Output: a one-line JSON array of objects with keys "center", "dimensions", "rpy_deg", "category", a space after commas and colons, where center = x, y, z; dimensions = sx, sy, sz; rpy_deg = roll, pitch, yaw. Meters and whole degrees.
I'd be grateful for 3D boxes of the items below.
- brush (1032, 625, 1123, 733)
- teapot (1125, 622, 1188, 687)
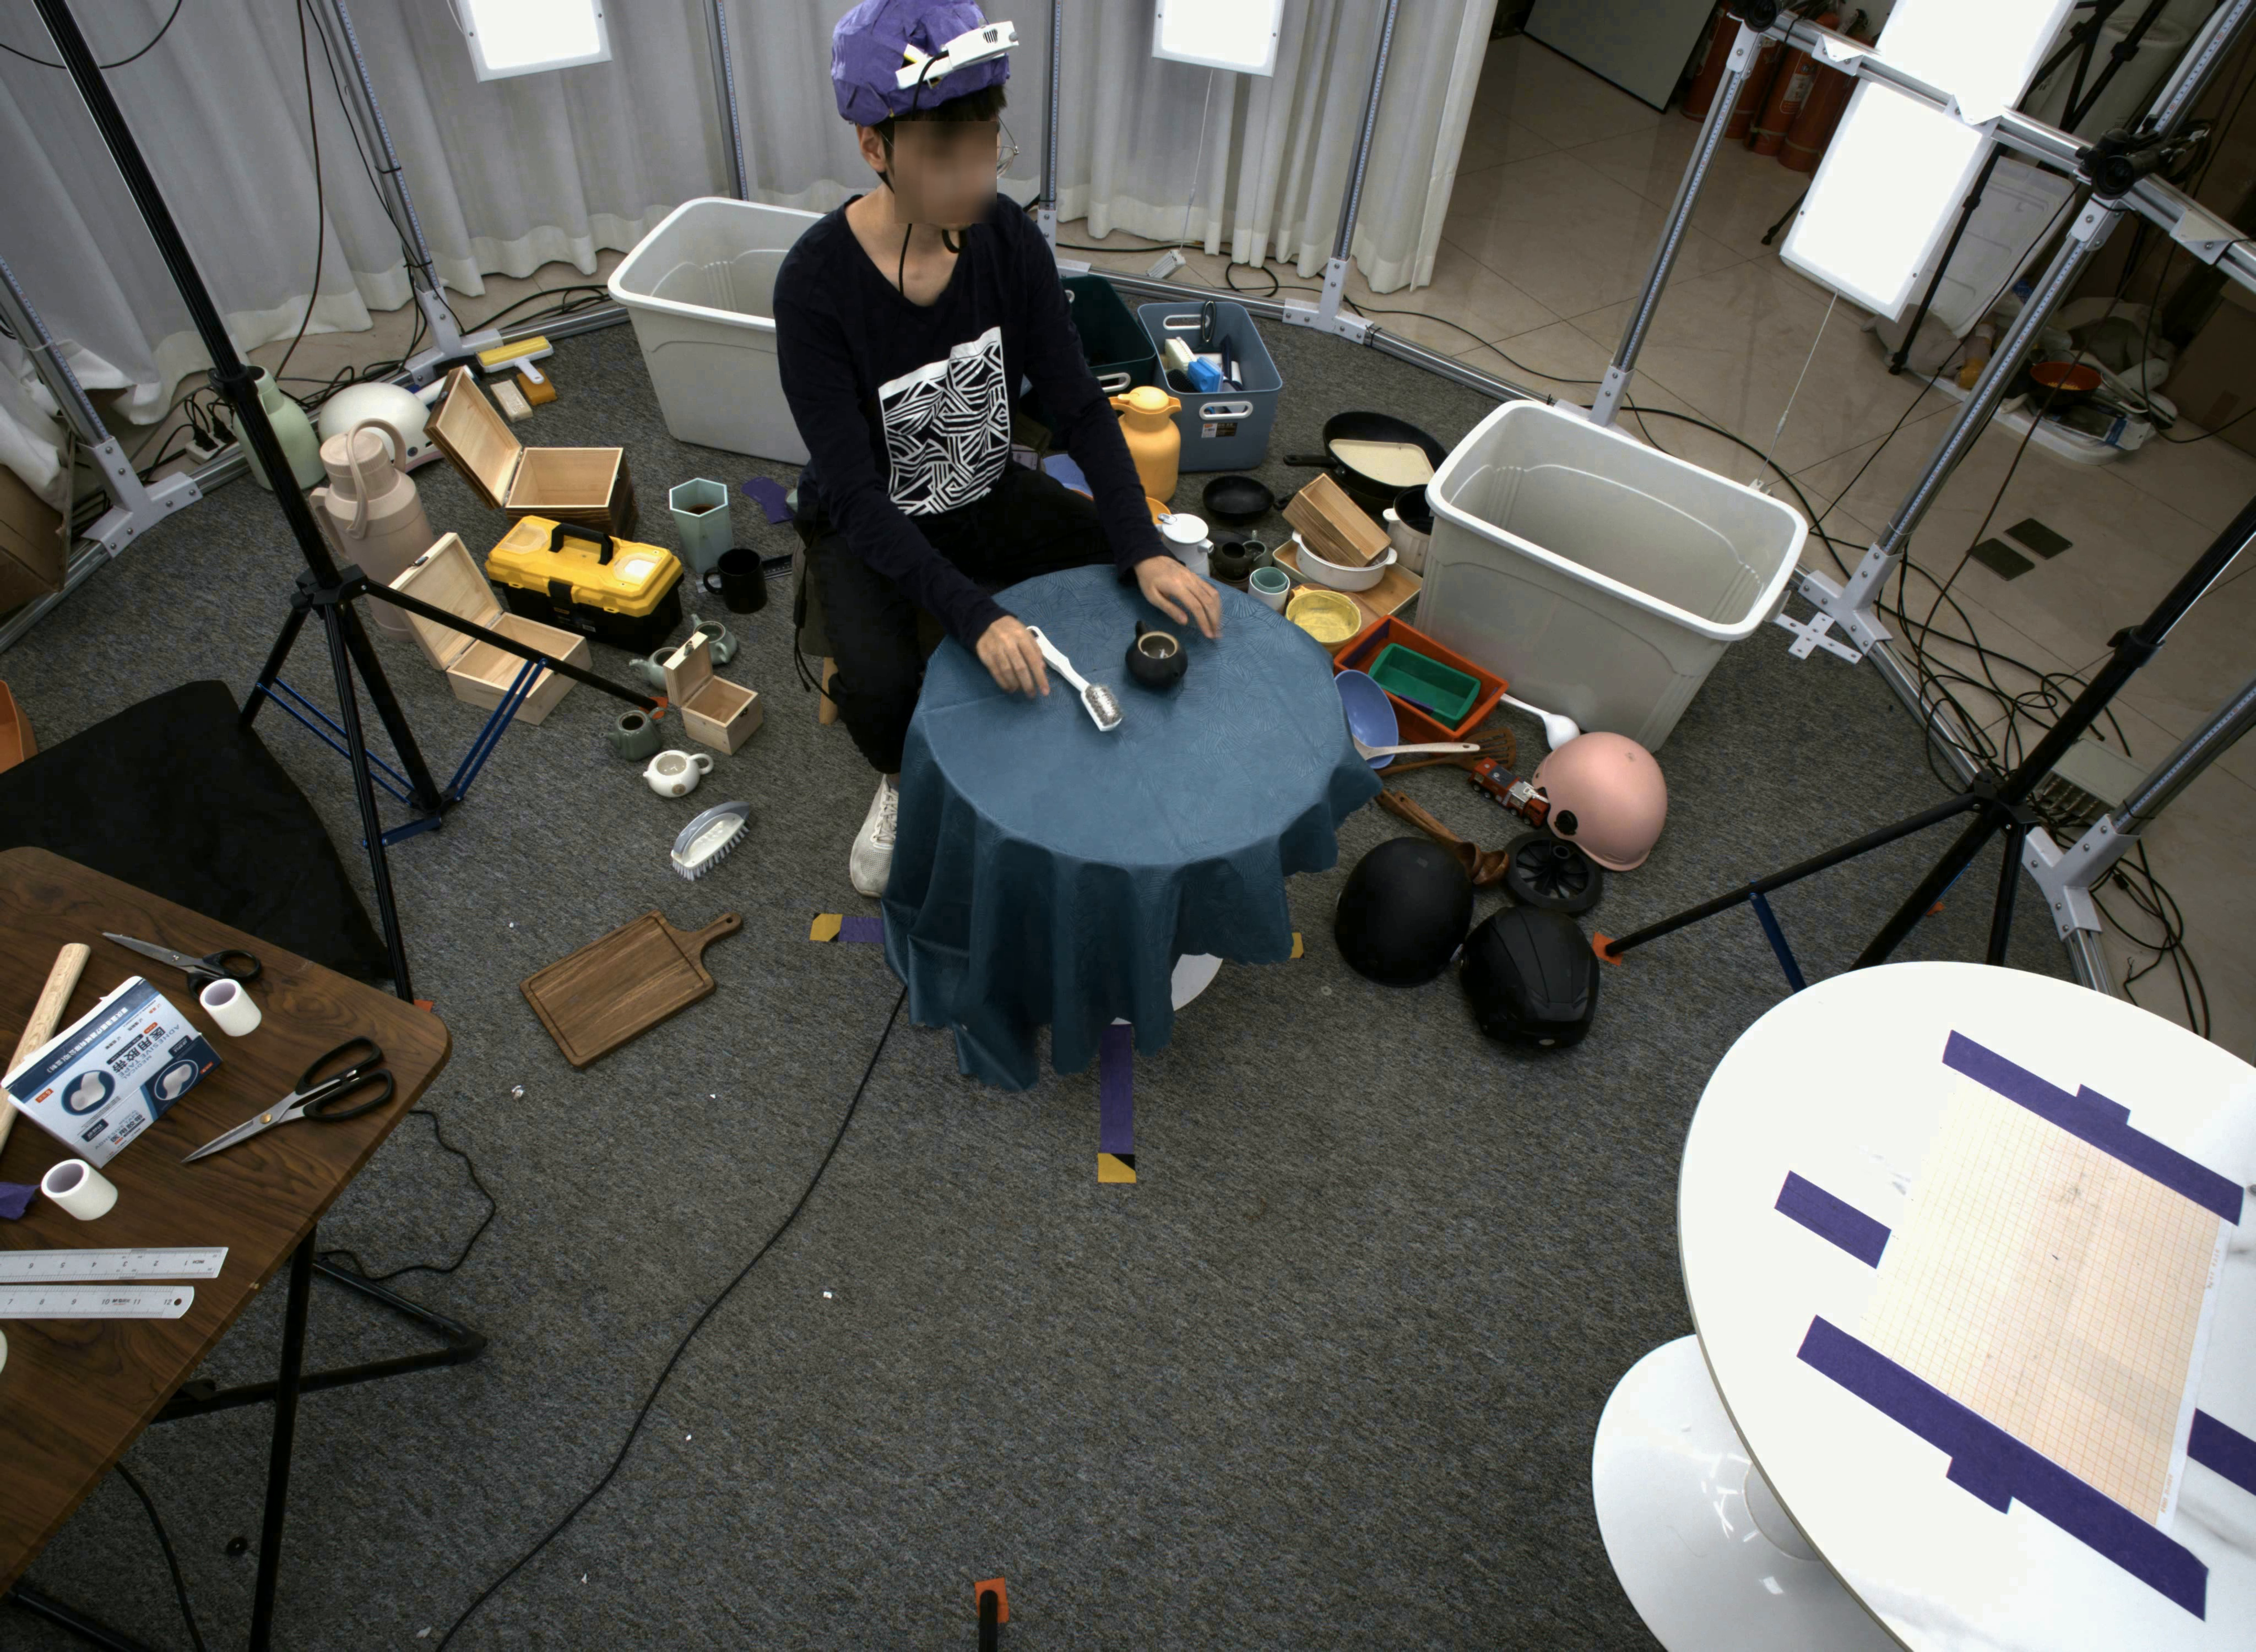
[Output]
[{"center": [-0.077, -0.223, 1.826], "dimensions": [0.034, 0.049, 0.249], "rpy_deg": [-24, 54, -16], "category": "brush"}, {"center": [0.041, -0.241, 1.846], "dimensions": [0.091, 0.052, 0.136], "rpy_deg": [-15, 51, -20], "category": "teapot"}]
